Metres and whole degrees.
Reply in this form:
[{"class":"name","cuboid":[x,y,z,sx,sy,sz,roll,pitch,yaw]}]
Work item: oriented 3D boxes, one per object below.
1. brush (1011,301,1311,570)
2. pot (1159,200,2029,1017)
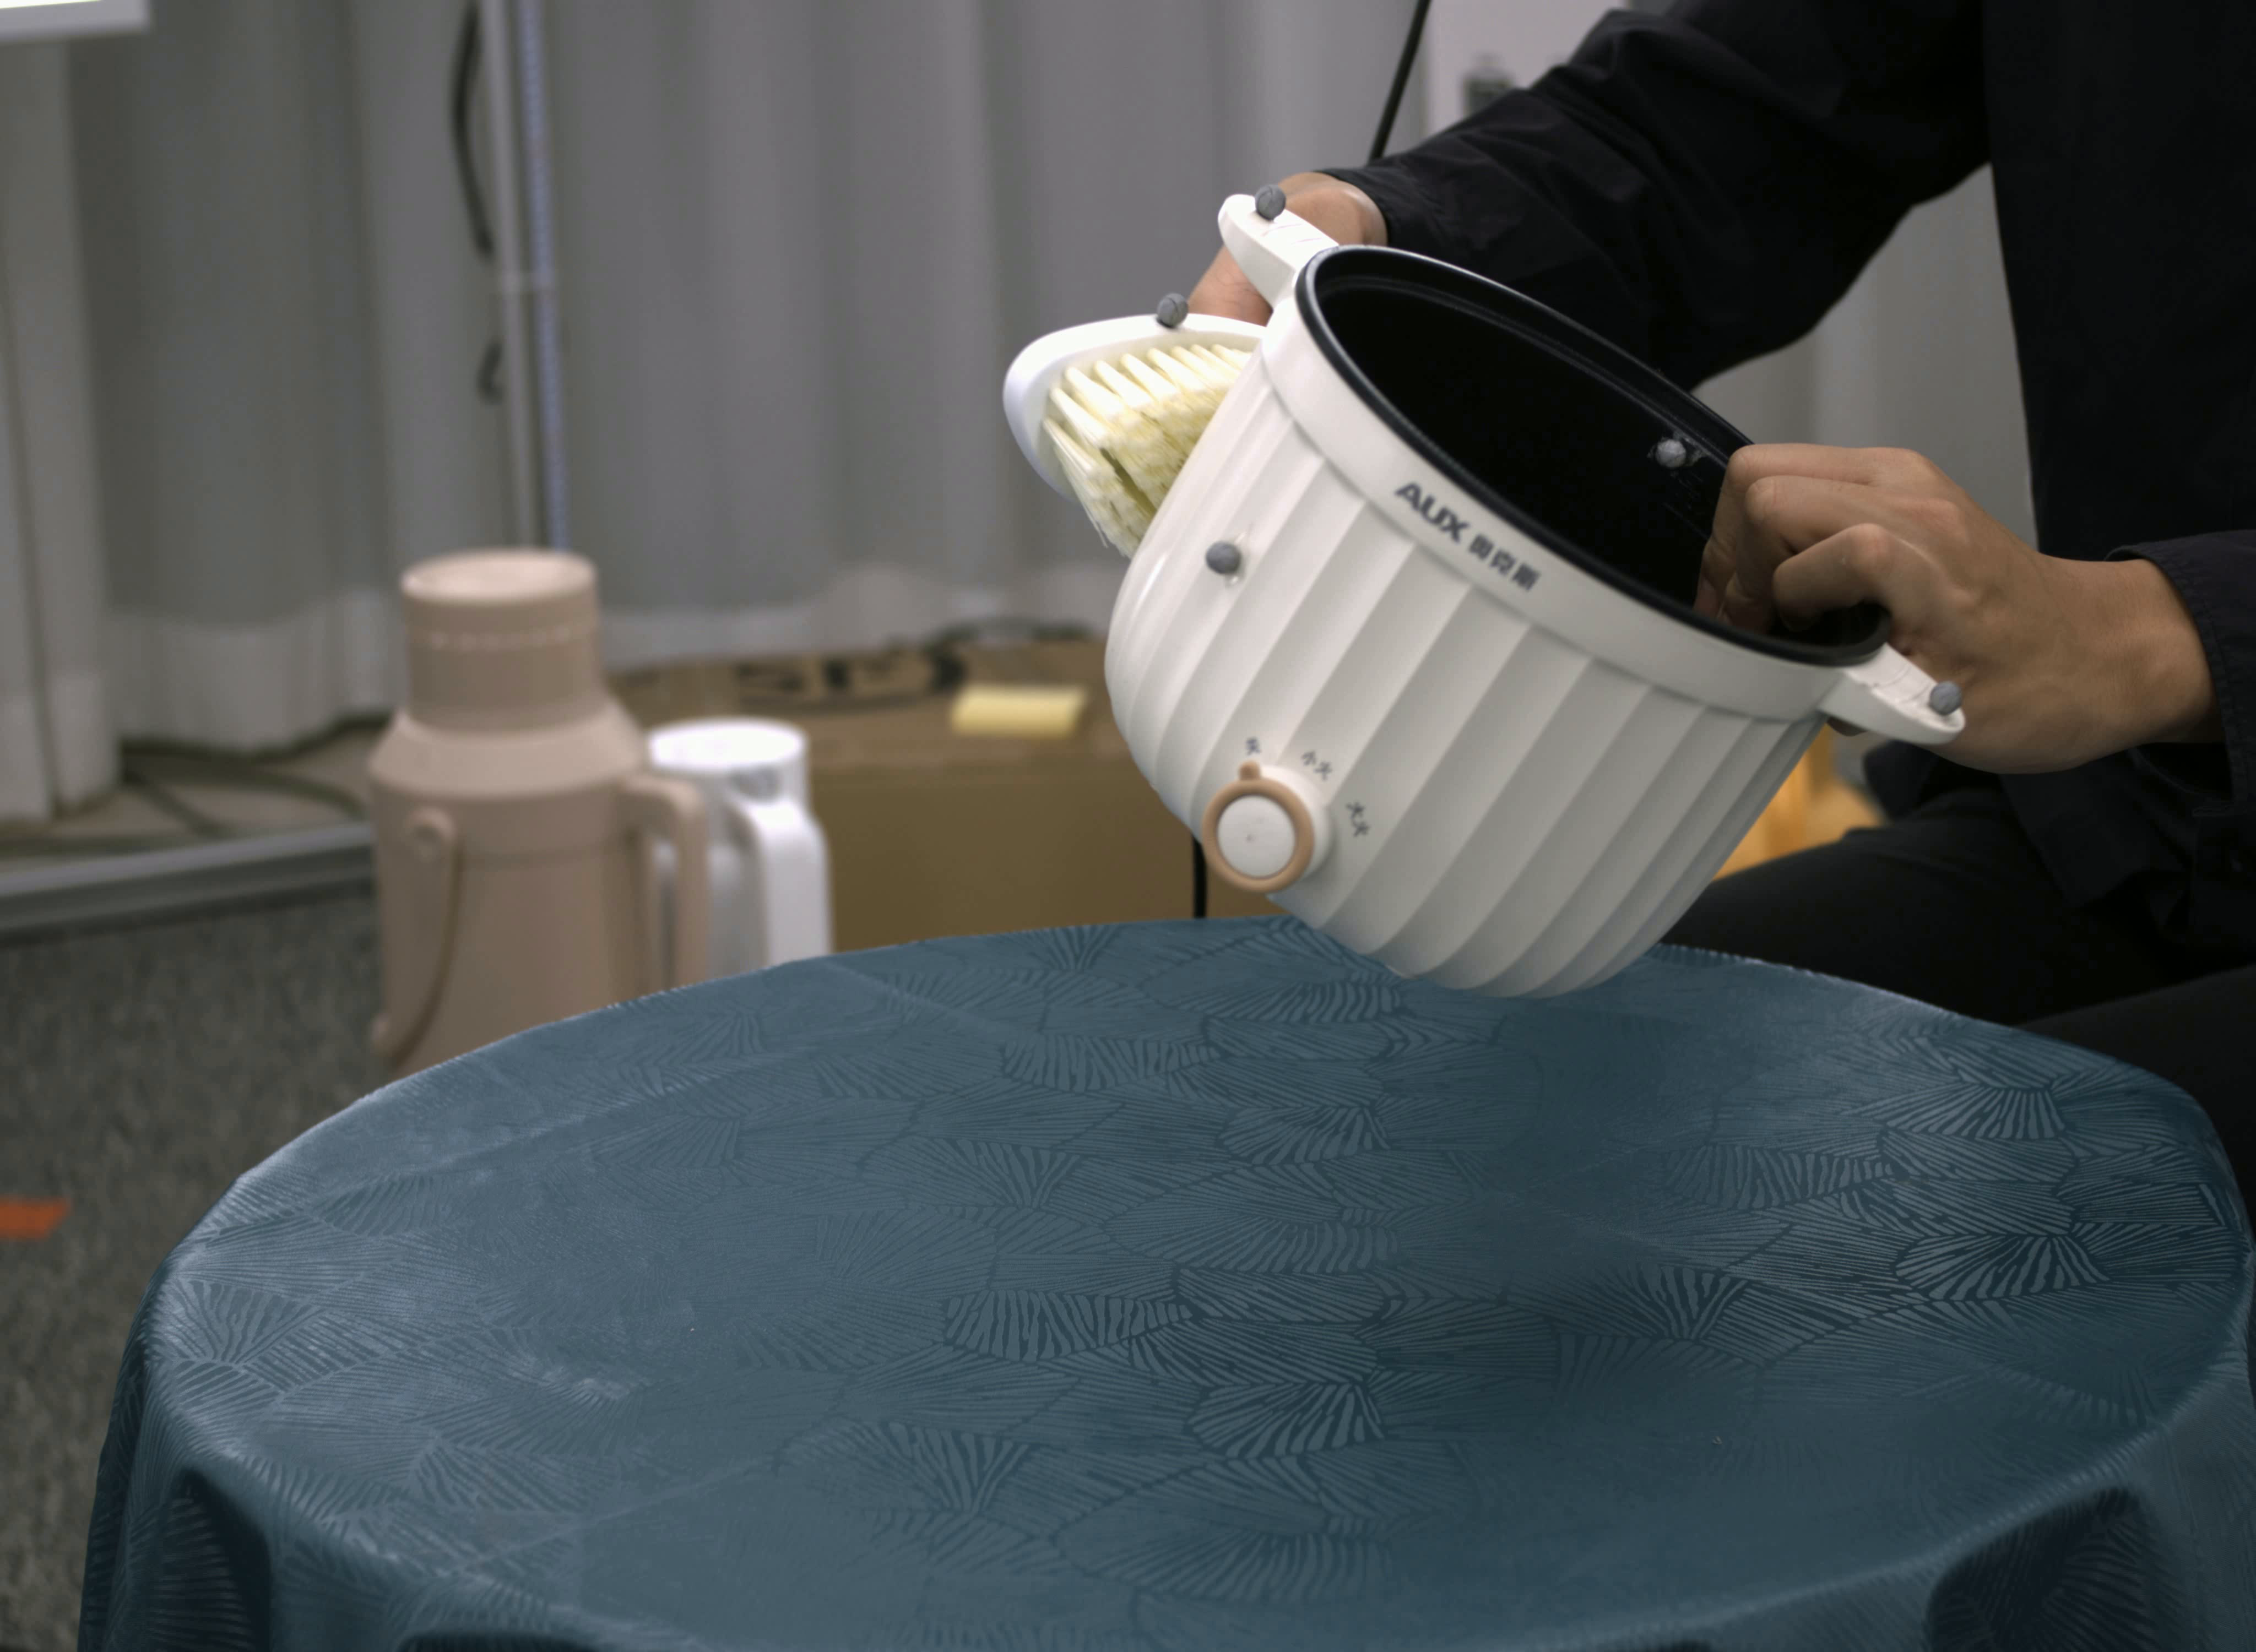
[{"class":"brush","cuboid":[0.066,-0.115,1.560,0.084,0.085,0.319,-20,-6,24]},{"class":"pot","cuboid":[0.103,-0.041,1.390,0.242,0.143,0.188,36,20,13]}]
